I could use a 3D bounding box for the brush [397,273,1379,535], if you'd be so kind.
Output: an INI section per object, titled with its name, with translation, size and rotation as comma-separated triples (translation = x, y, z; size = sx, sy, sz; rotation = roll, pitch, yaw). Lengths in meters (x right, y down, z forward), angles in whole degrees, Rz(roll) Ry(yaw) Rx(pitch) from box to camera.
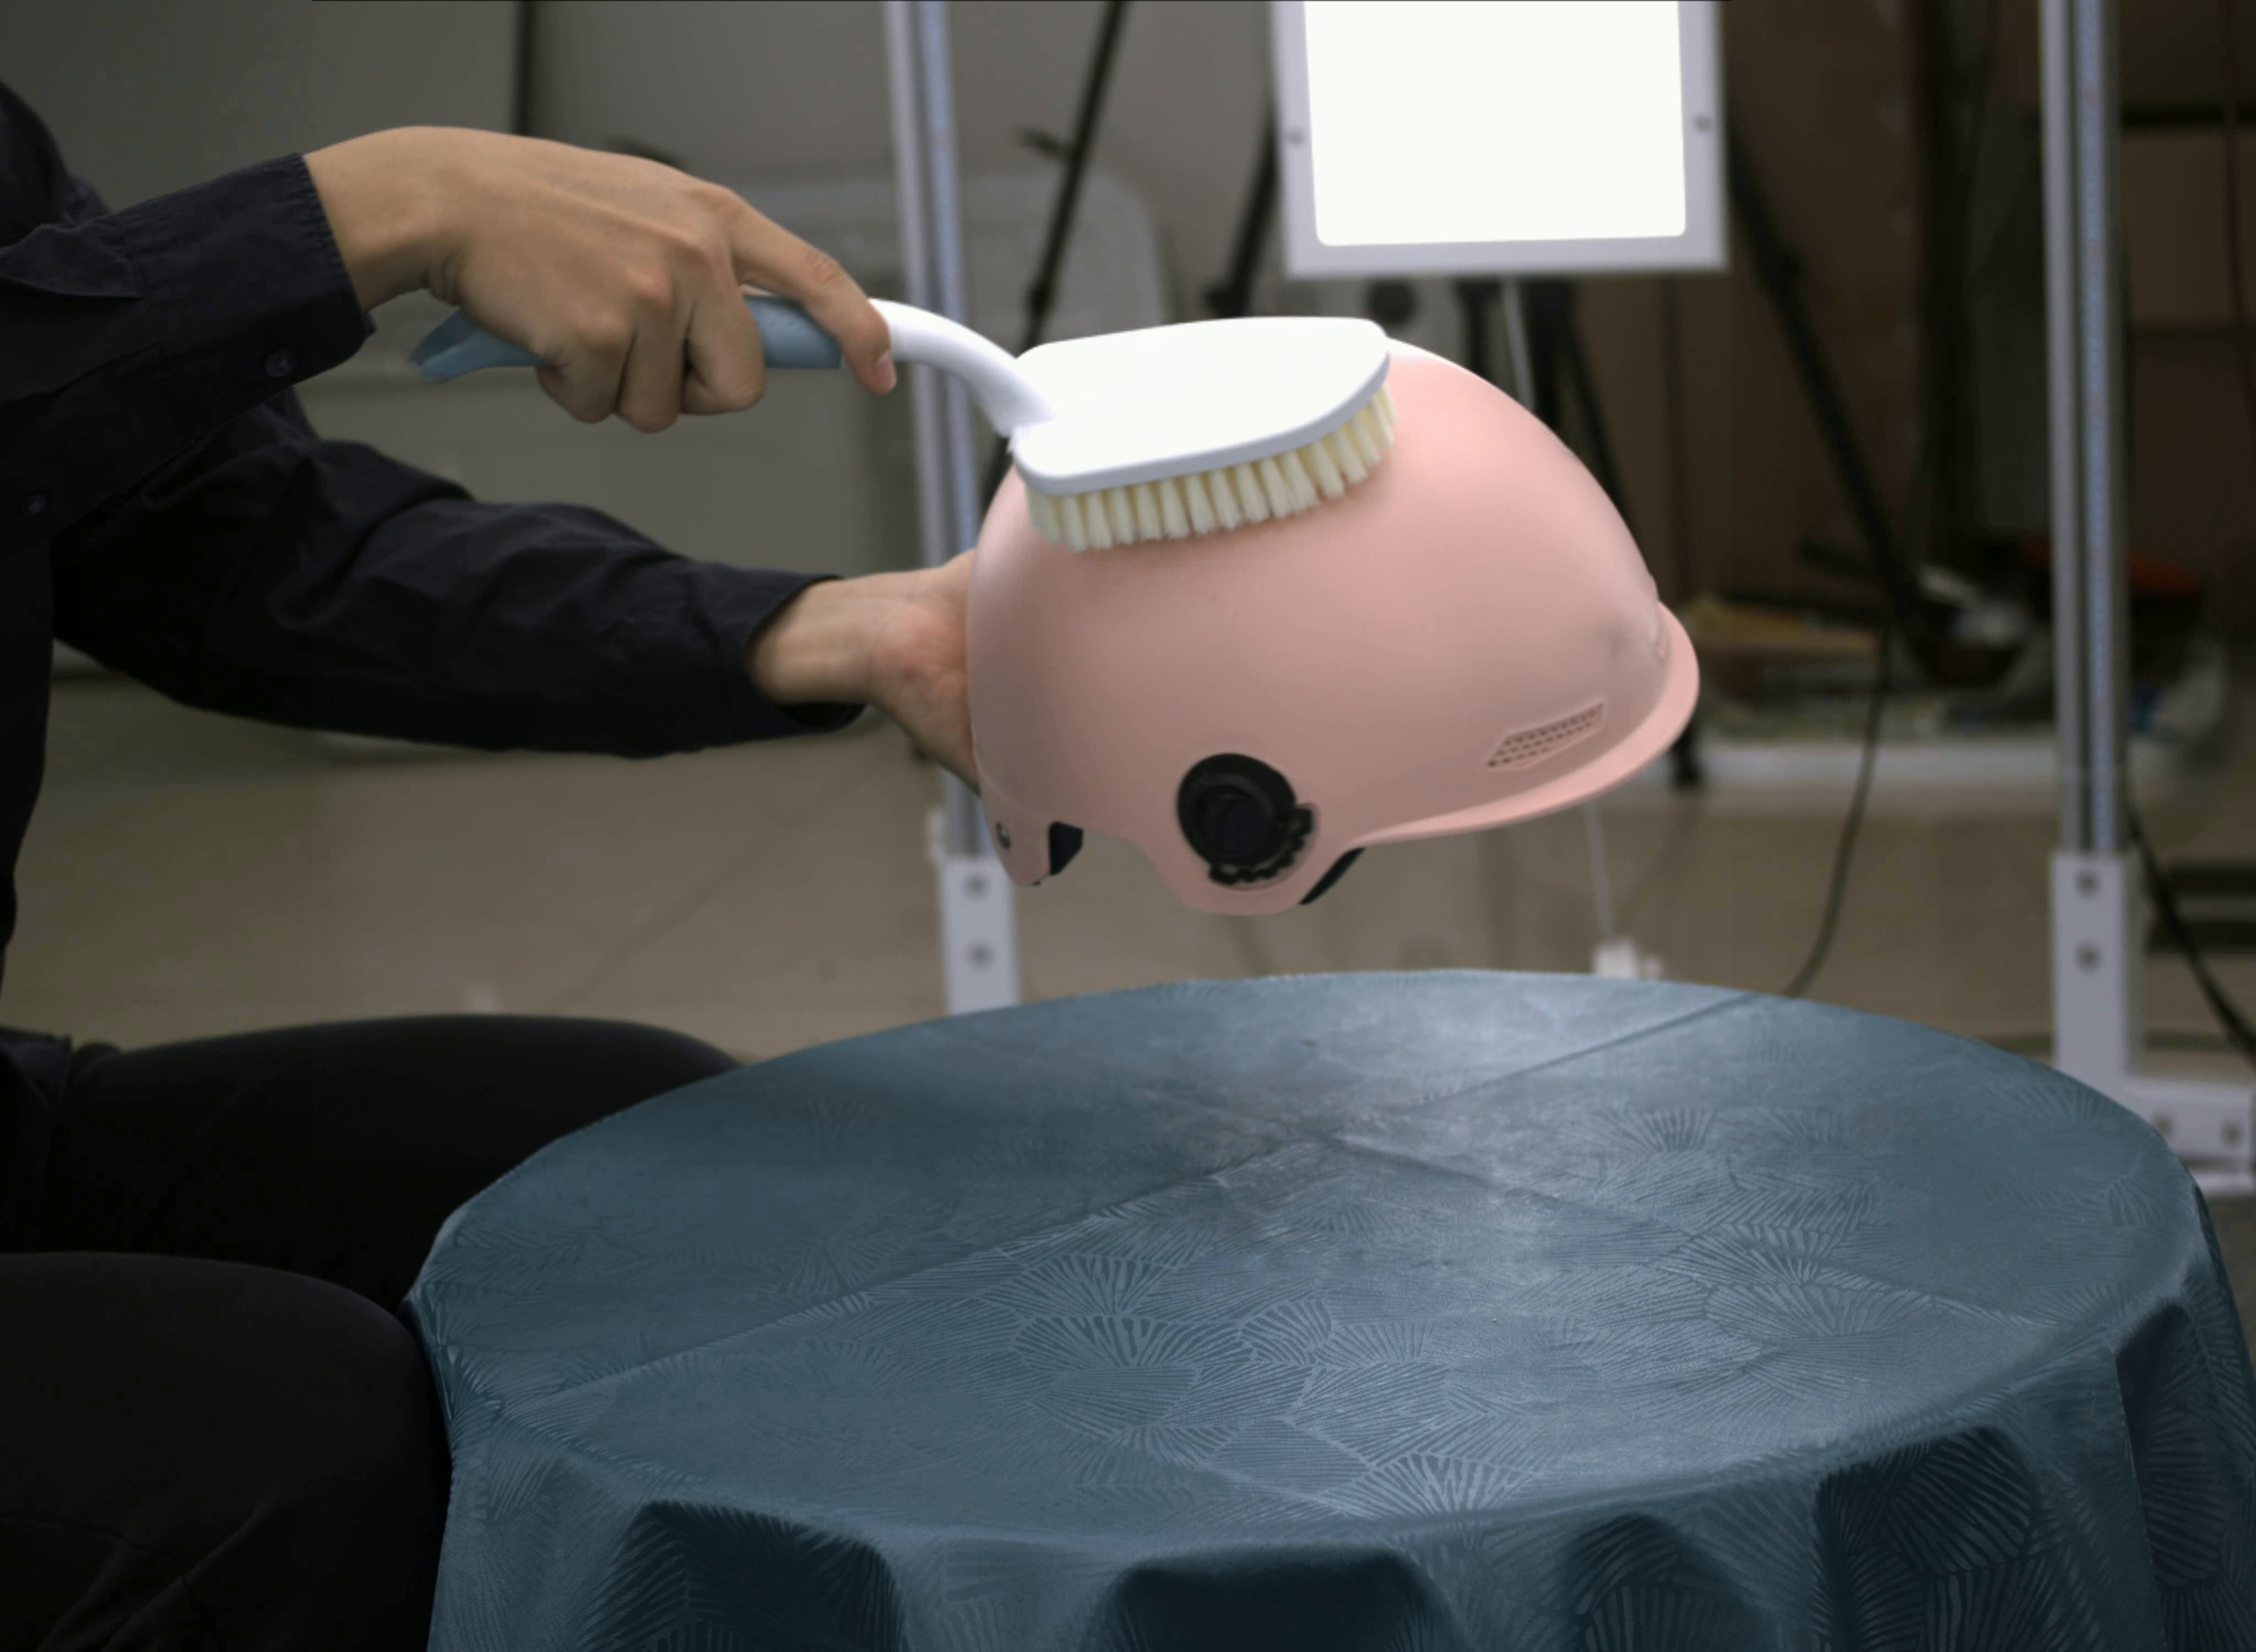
[brush]
translation = -0.078, -0.139, 1.817
size = 0.323, 0.085, 0.083
rotation = 0, 7, -5

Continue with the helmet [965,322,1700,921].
[helmet]
translation = 0.059, -0.089, 1.909
size = 0.271, 0.159, 0.229
rotation = 4, 32, 34
